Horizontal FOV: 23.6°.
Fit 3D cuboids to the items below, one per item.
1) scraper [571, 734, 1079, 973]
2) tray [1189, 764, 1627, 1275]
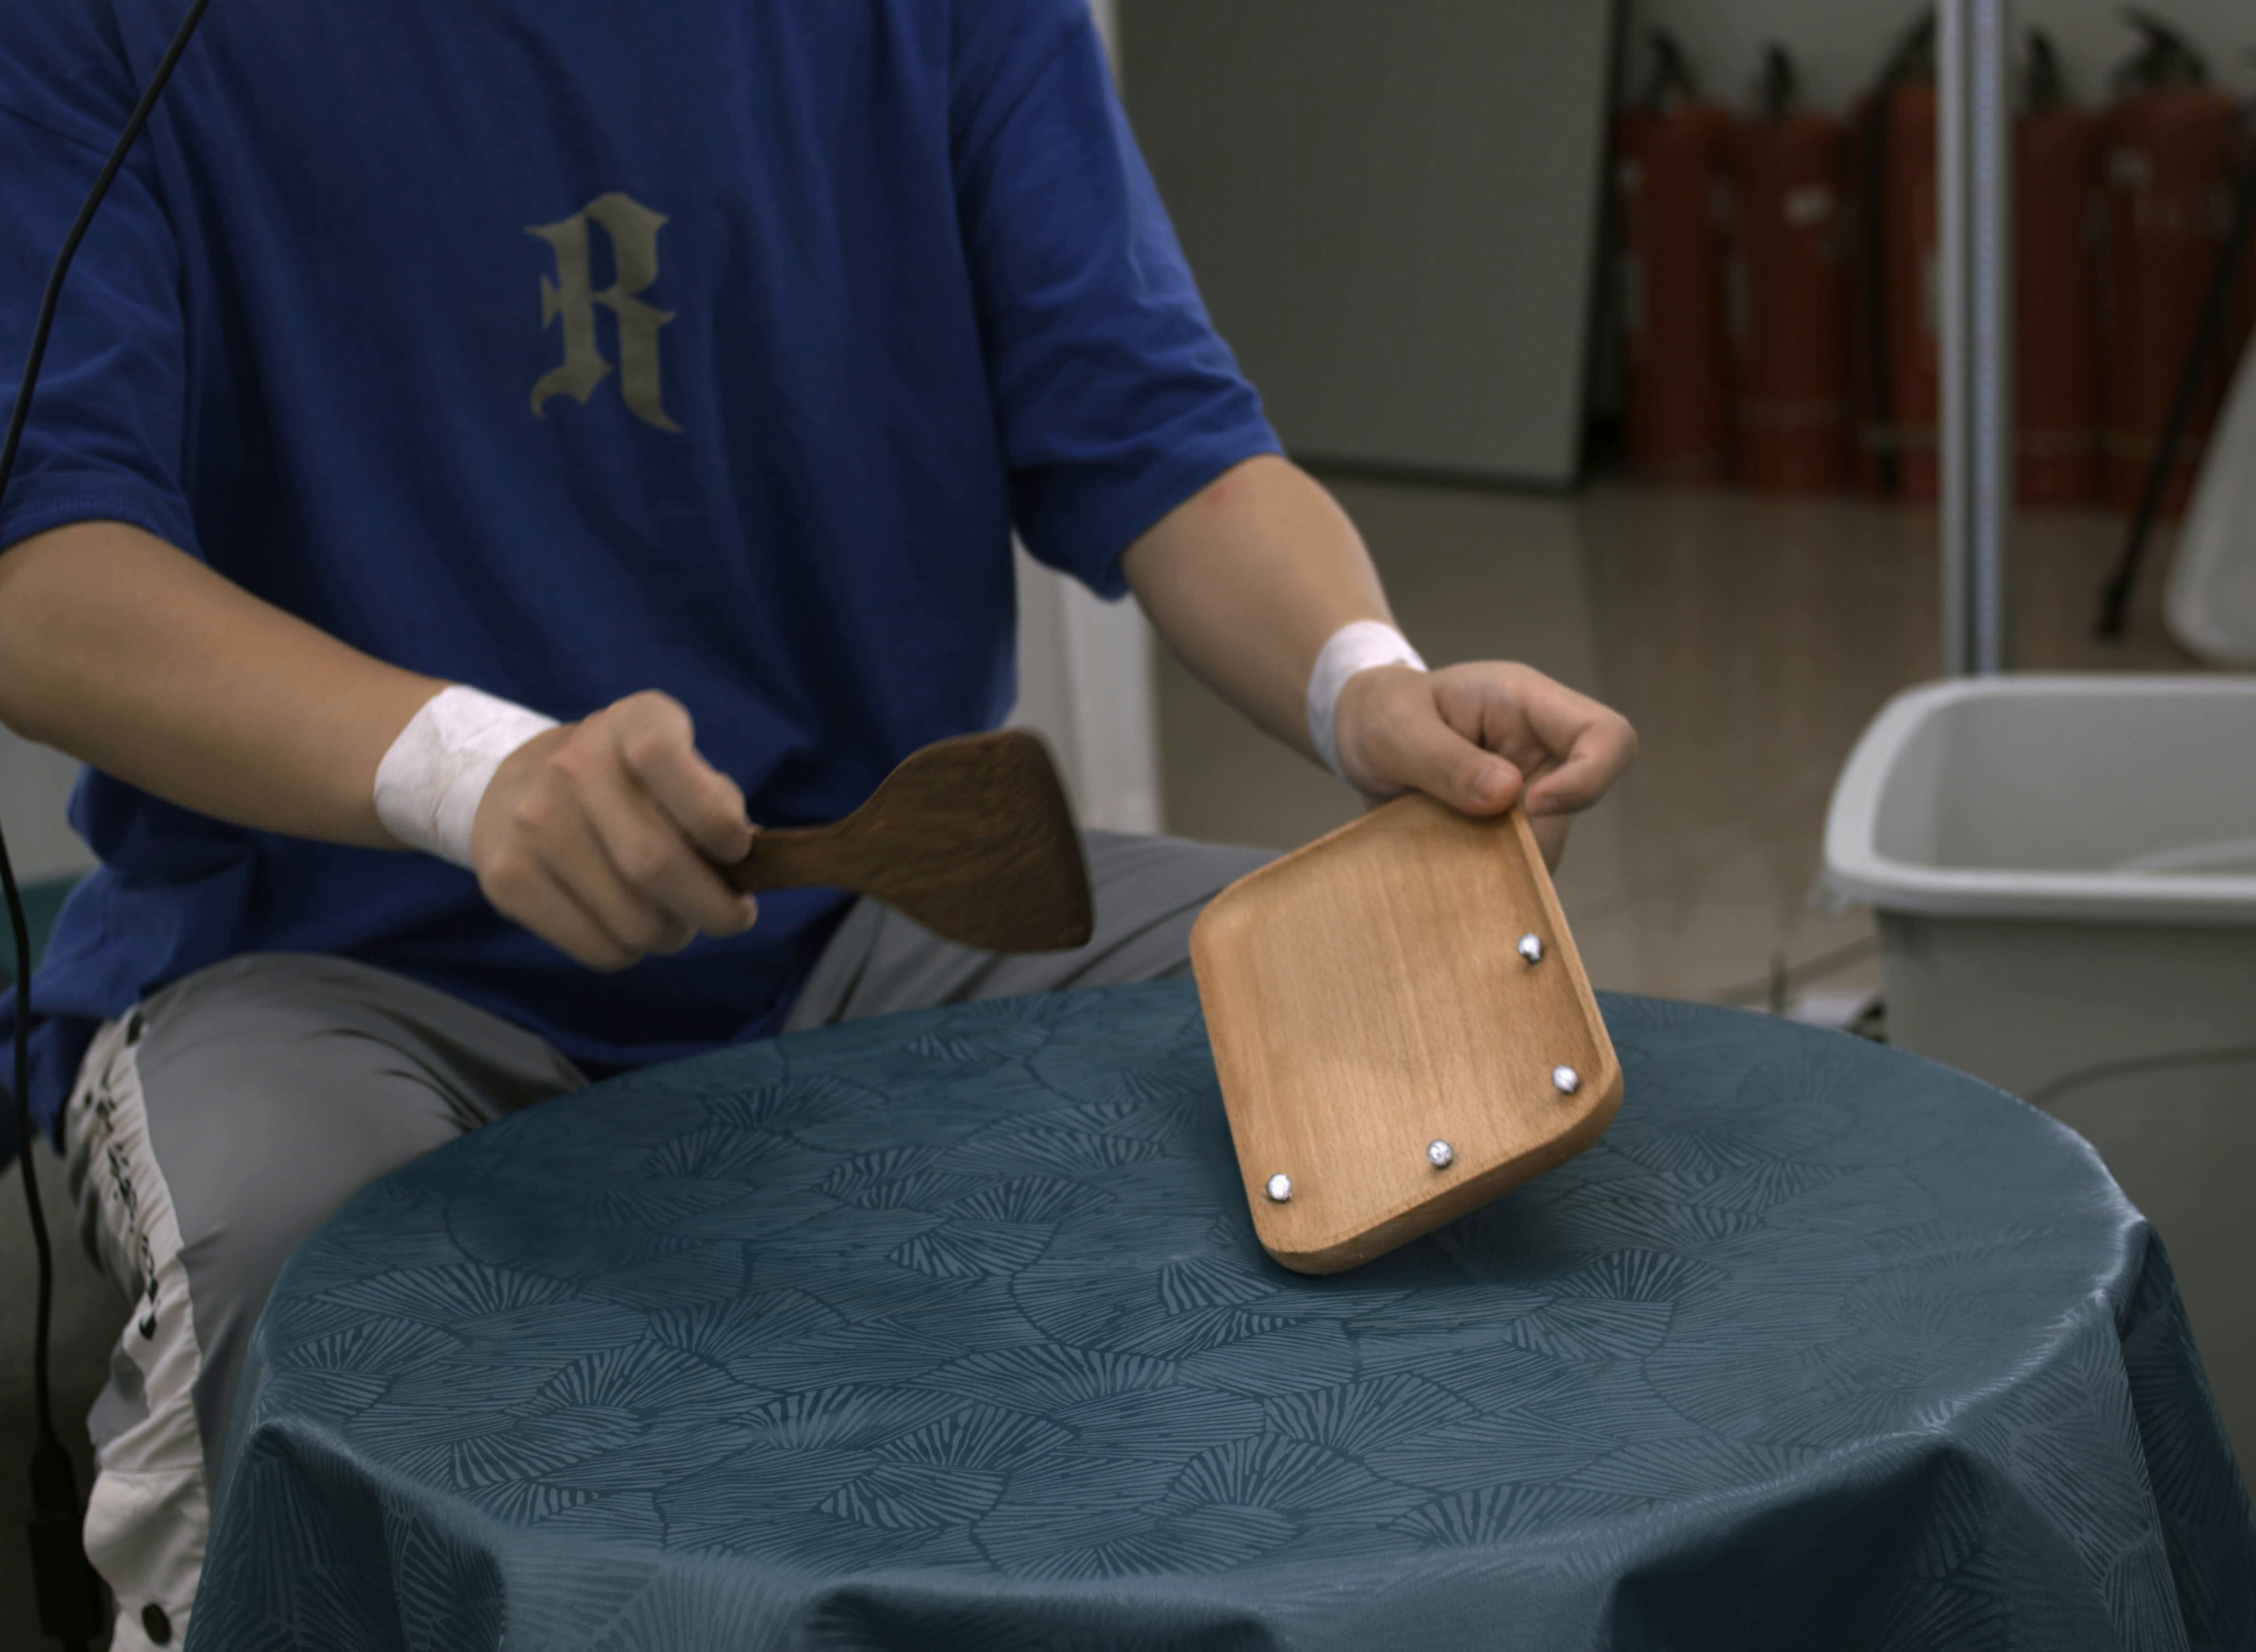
[{"bbox_3d":[-0.101,0.013,1.711,0.213,0.076,0.010,-4,17,42],"label":"scraper"},{"bbox_3d":[0.089,0.061,1.768,0.130,0.023,0.252,-24,26,7],"label":"tray"}]
